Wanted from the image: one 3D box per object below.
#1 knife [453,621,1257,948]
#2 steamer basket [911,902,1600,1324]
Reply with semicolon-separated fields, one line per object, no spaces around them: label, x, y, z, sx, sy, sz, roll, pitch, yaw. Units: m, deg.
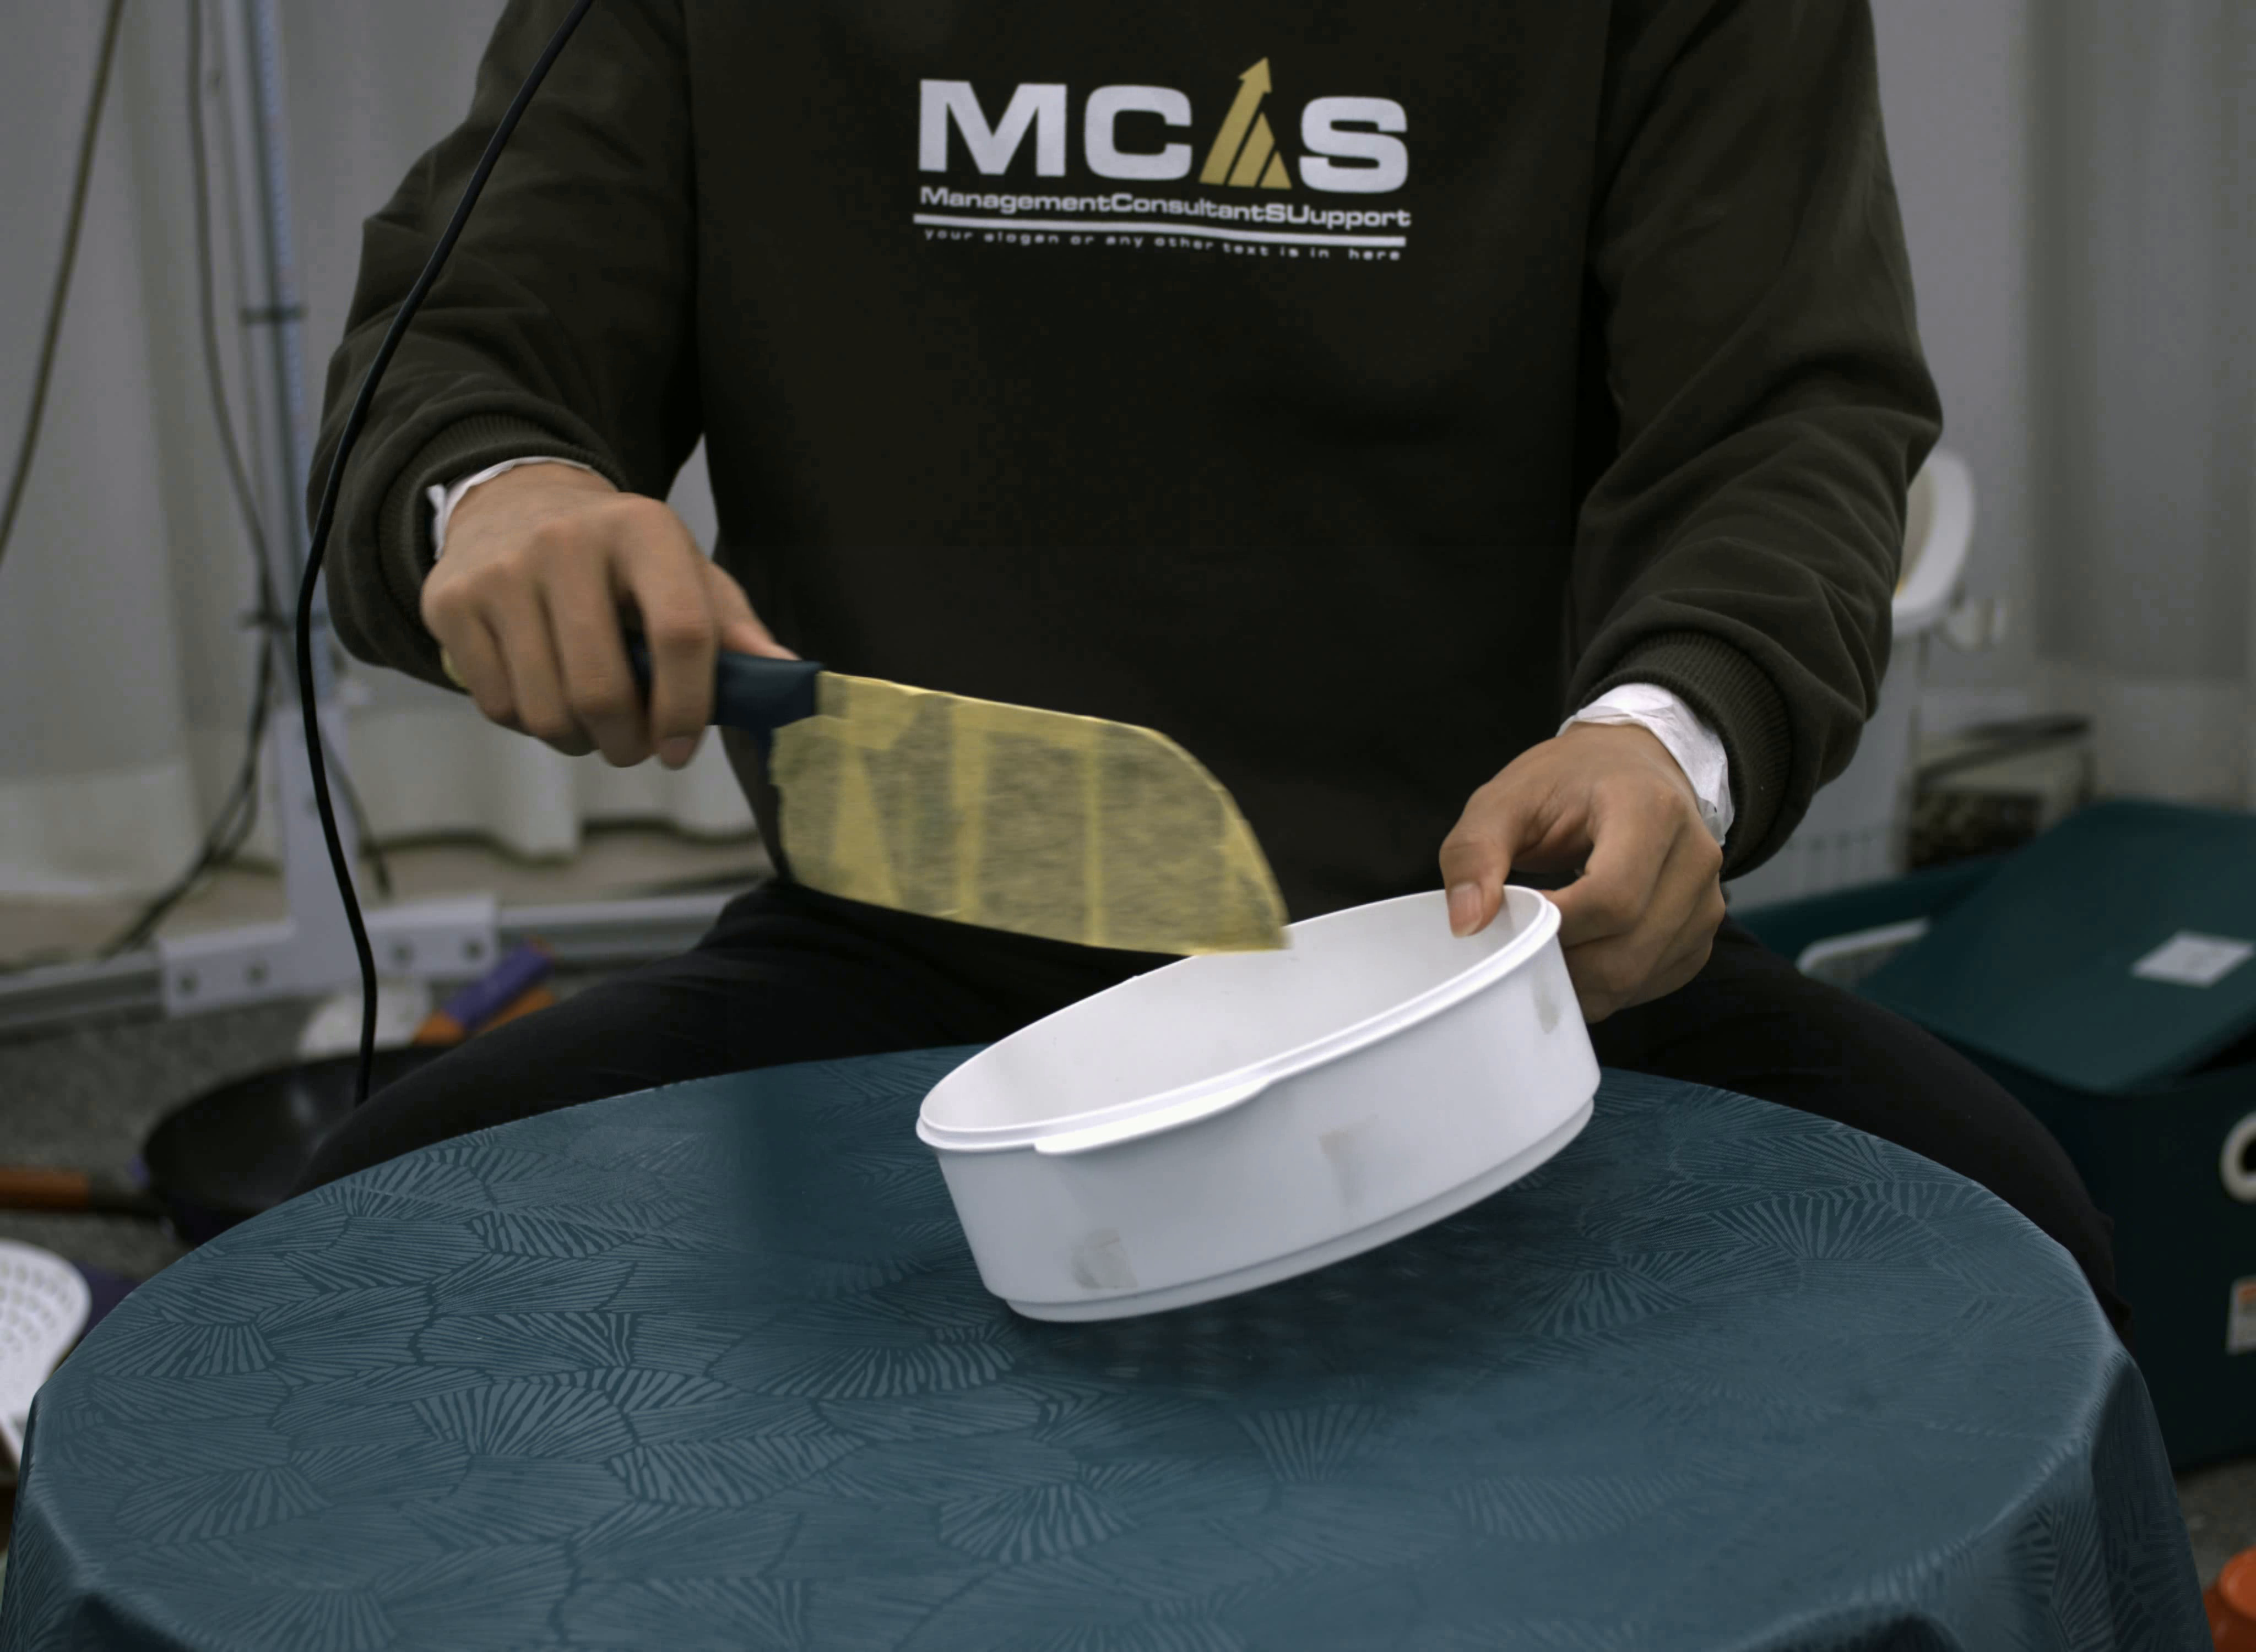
knife;-0.086;-0.014;1.655;0.291;0.080;0.027;14;20;29
steamer basket;0.040;0.086;1.611;0.201;0.069;0.231;-15;8;20
